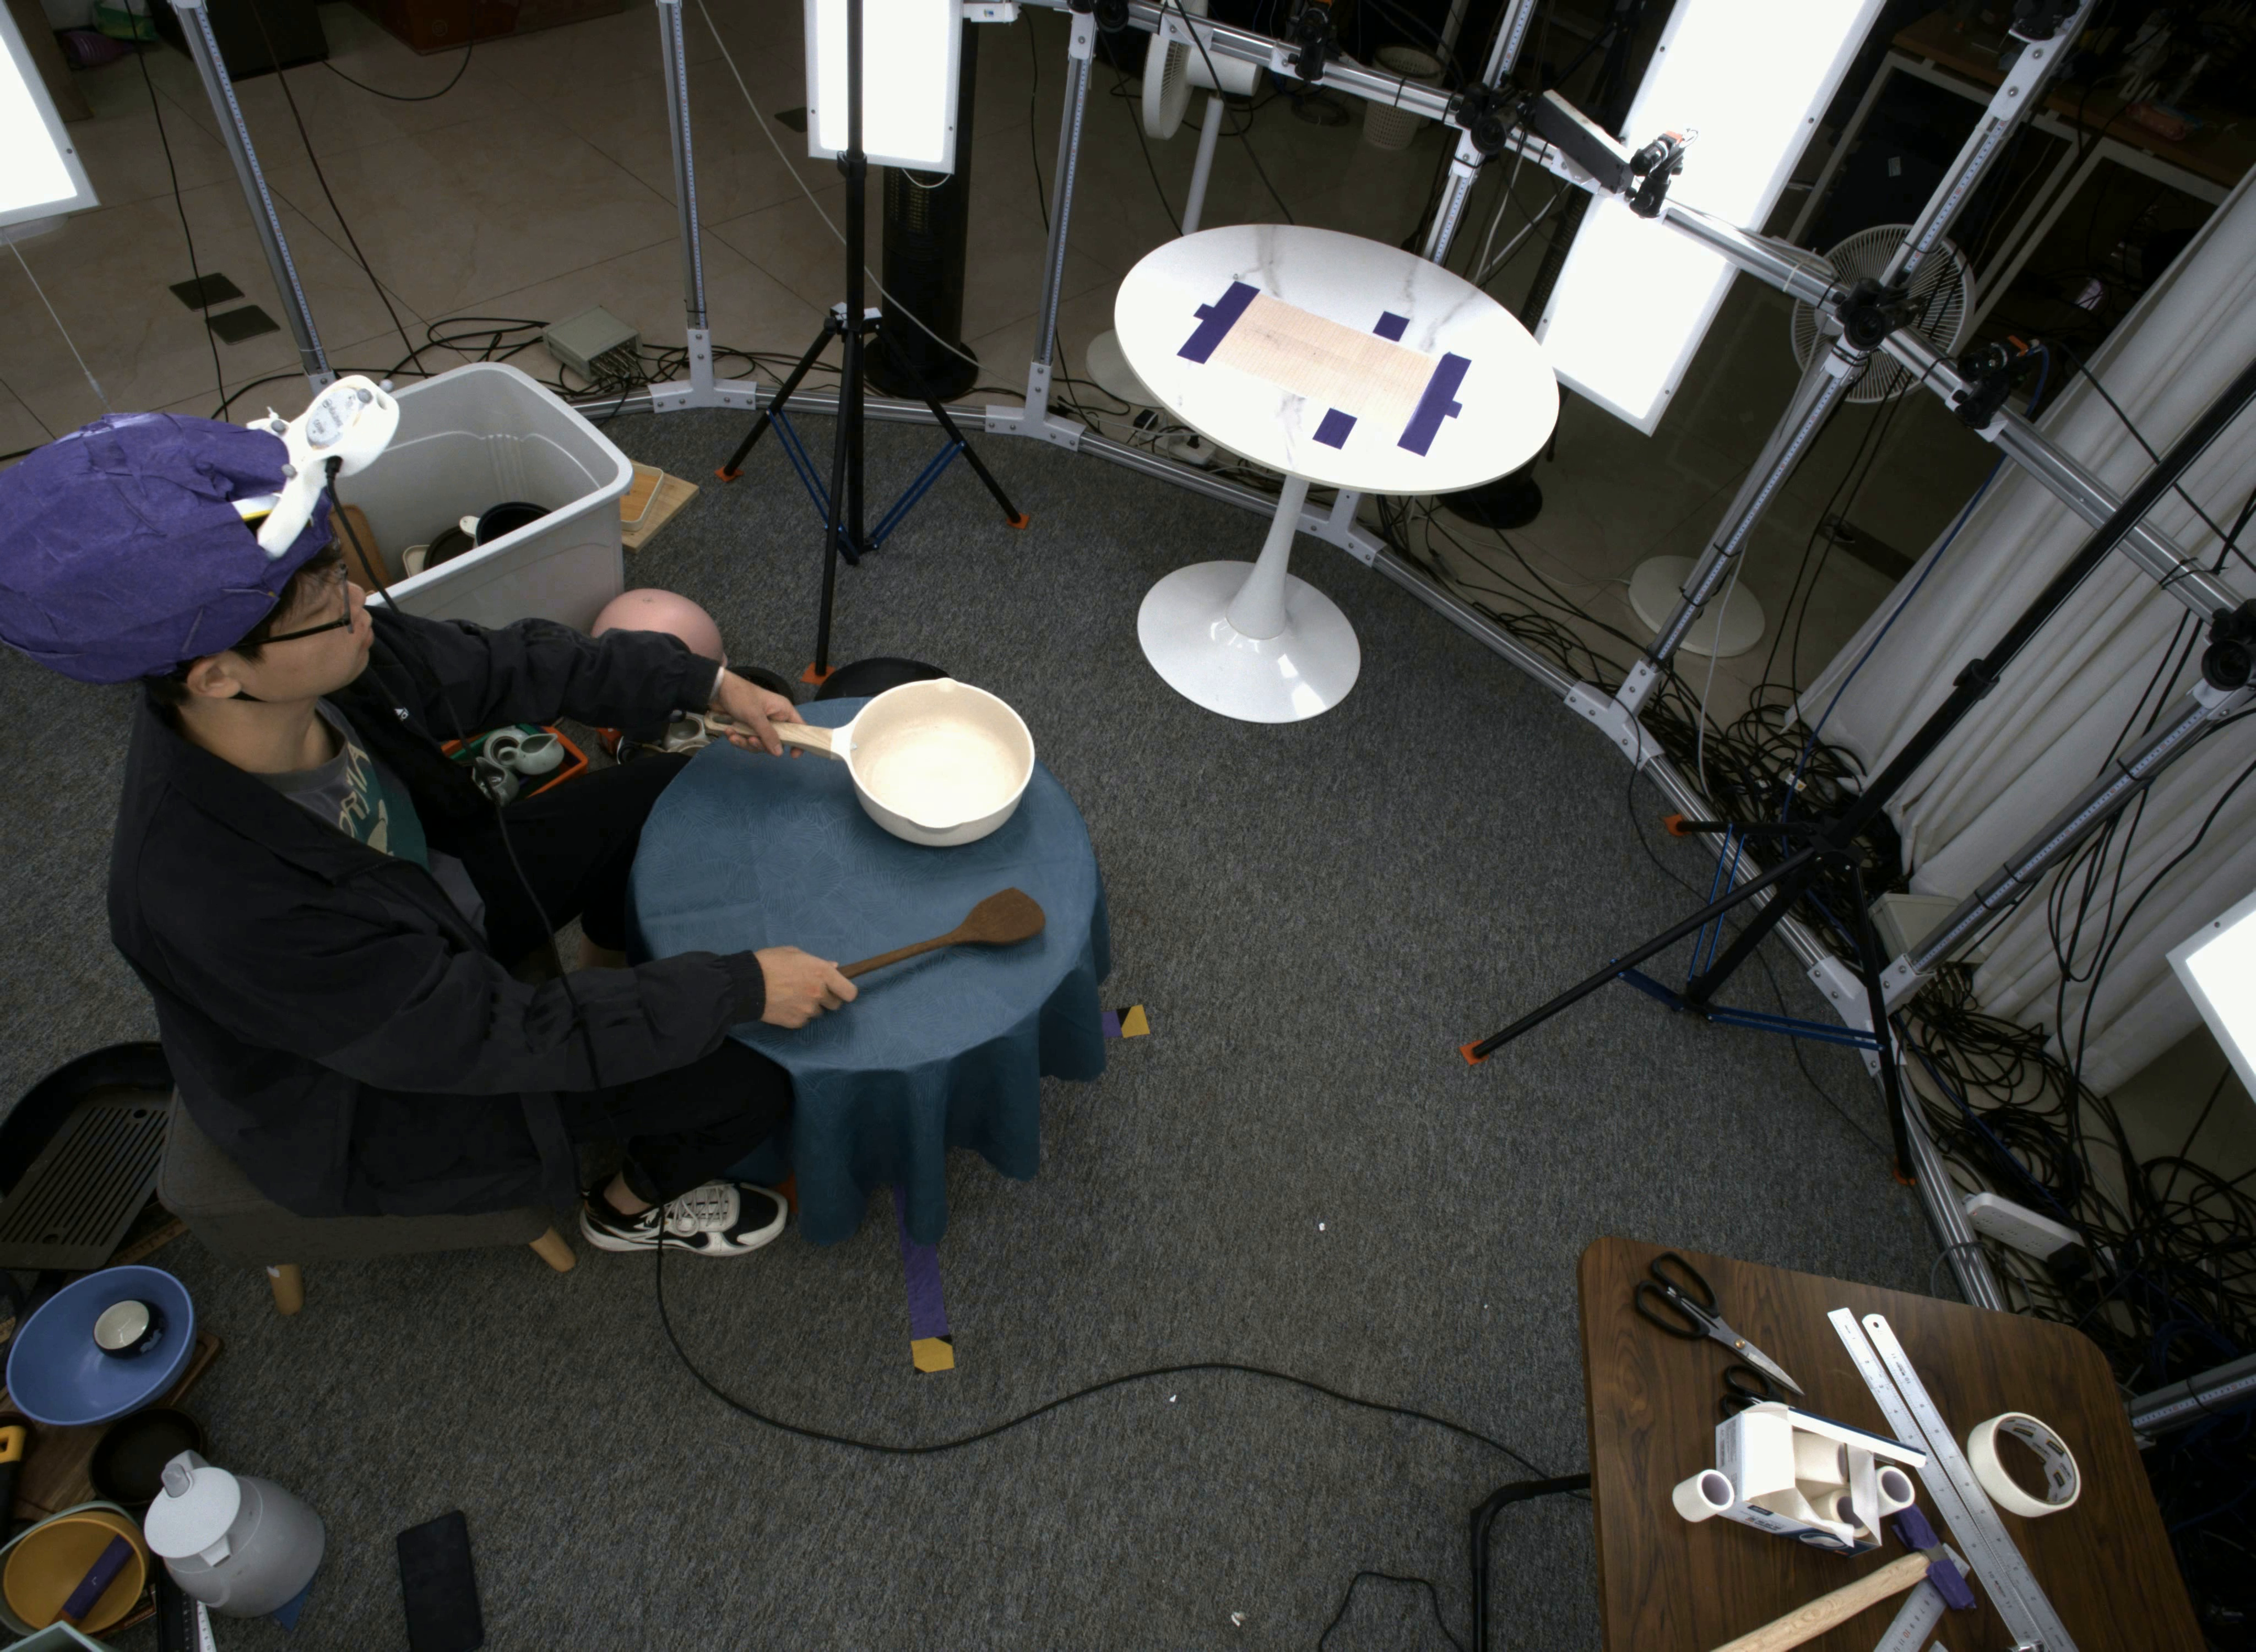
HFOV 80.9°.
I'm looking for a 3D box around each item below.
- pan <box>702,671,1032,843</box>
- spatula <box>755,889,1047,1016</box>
[{"bbox_3d":[-0.348,-0.097,1.750,0.434,0.104,0.258,5,55,-11],"label":"pan"},{"bbox_3d":[-0.277,0.159,1.611,0.389,0.016,0.093,-18,48,-30],"label":"spatula"}]
